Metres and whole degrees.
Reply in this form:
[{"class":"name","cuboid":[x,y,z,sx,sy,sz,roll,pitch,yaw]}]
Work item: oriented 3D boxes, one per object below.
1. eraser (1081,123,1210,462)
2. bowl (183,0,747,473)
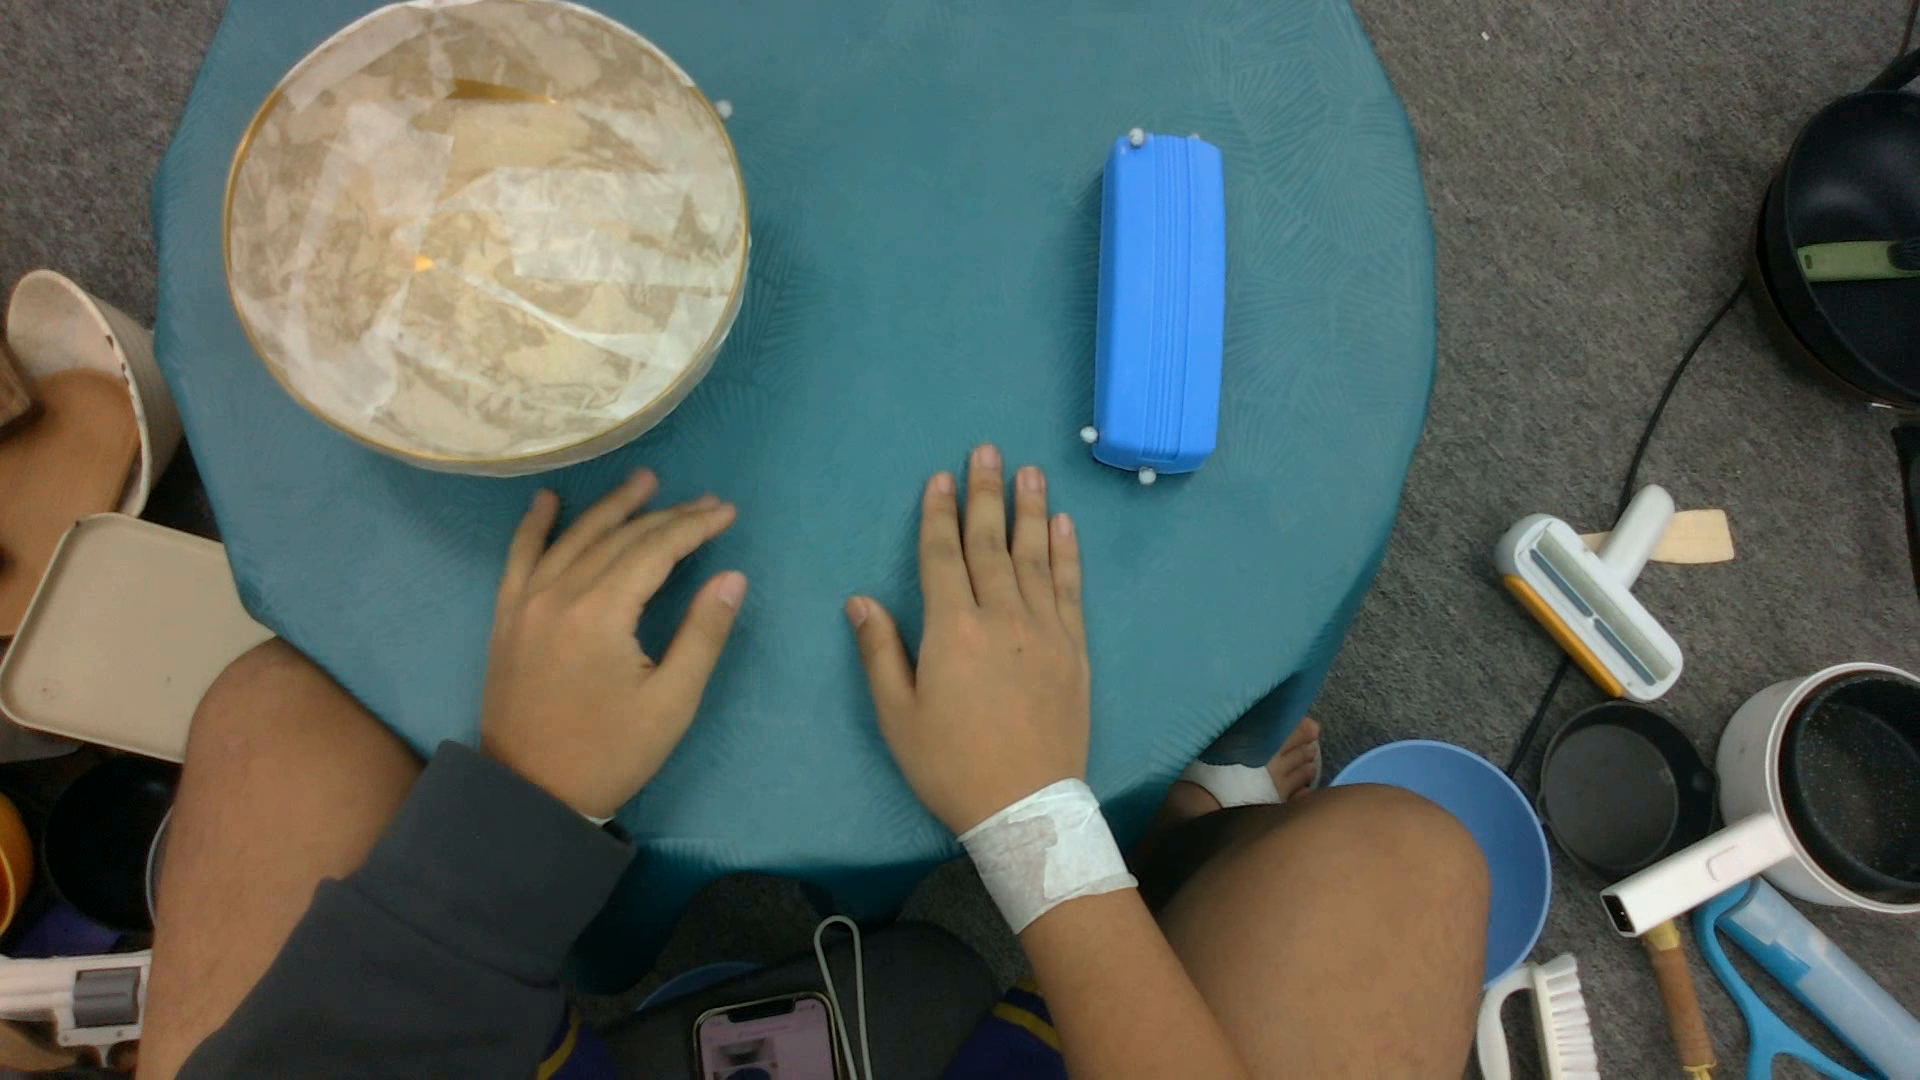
[{"class":"eraser","cuboid":[0.087,-0.119,0.643,0.054,0.047,0.162,5,76,-8]},{"class":"bowl","cuboid":[-0.195,-0.117,0.580,0.215,0.094,0.215,2,76,-8]}]
